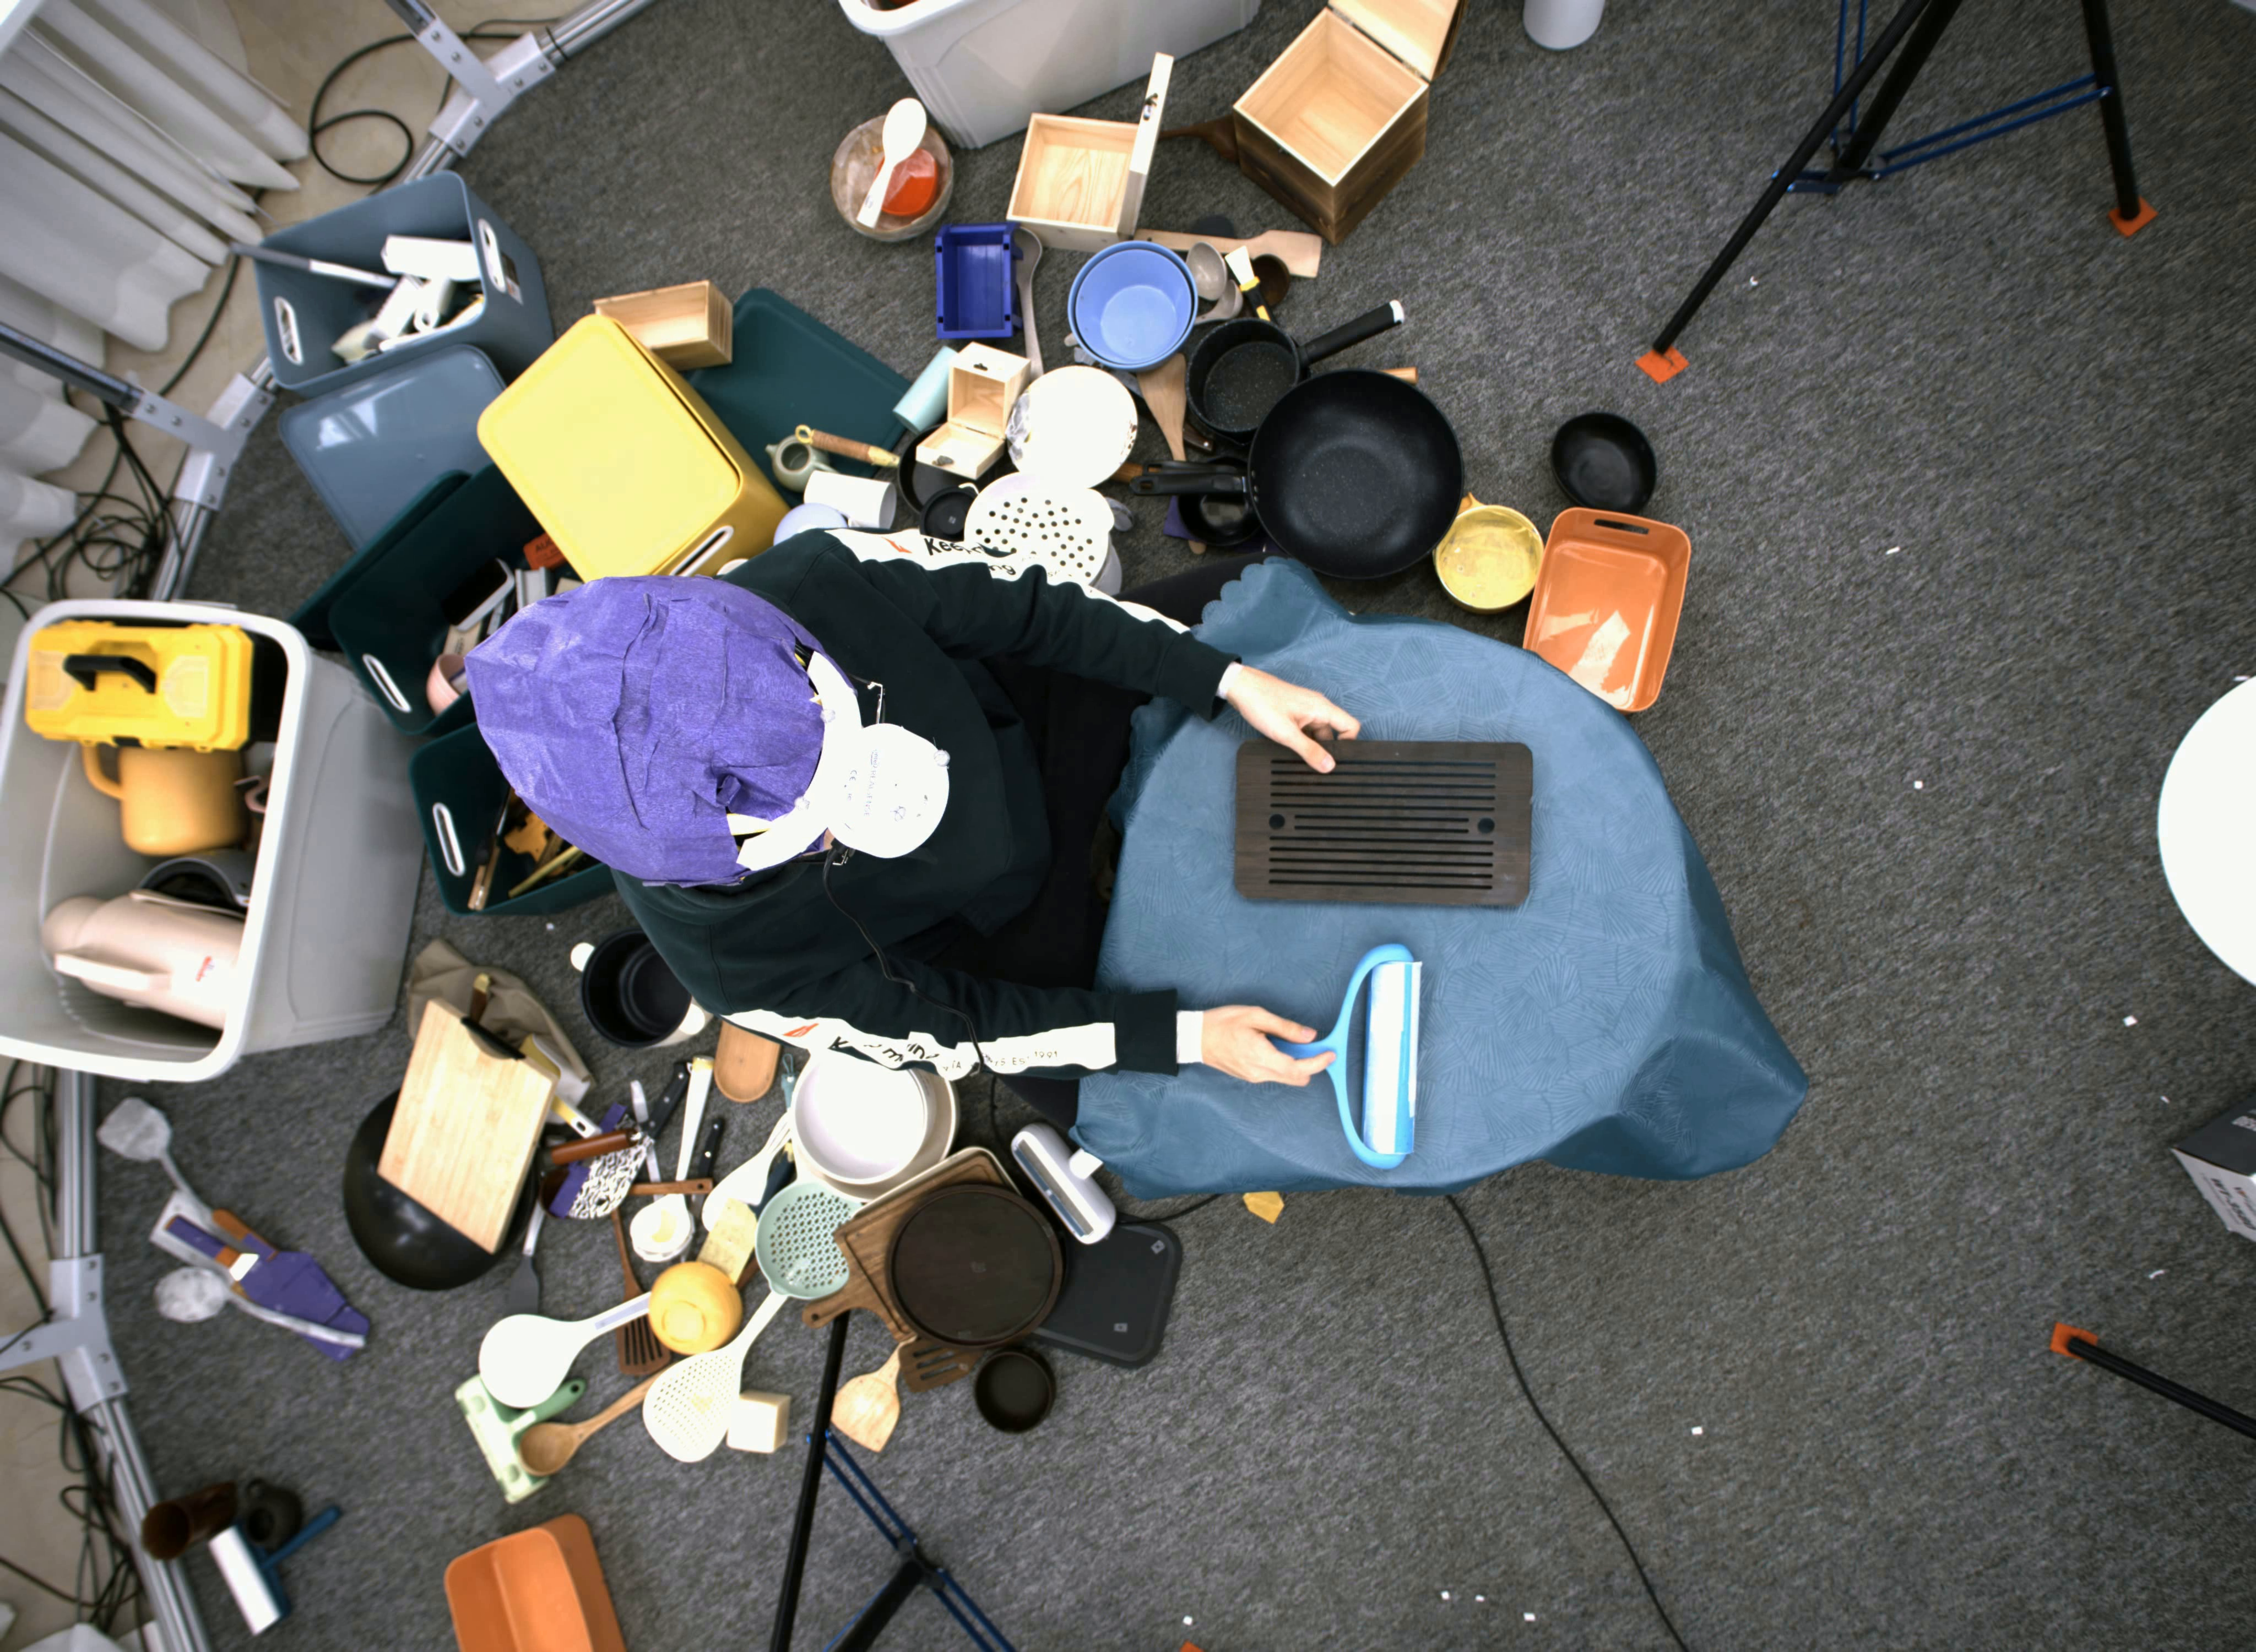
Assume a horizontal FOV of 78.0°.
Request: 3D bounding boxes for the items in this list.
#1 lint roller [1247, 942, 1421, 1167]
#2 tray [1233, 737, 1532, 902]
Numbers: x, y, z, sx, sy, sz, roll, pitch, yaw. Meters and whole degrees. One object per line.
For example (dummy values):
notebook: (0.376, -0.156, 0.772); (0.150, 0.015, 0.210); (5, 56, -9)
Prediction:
lint roller: (0.211, 0.233, 1.429); (0.181, 0.068, 0.228); (0, 89, 8)
tray: (0.263, -0.009, 1.438); (0.307, 0.018, 0.171); (1, 97, 10)
